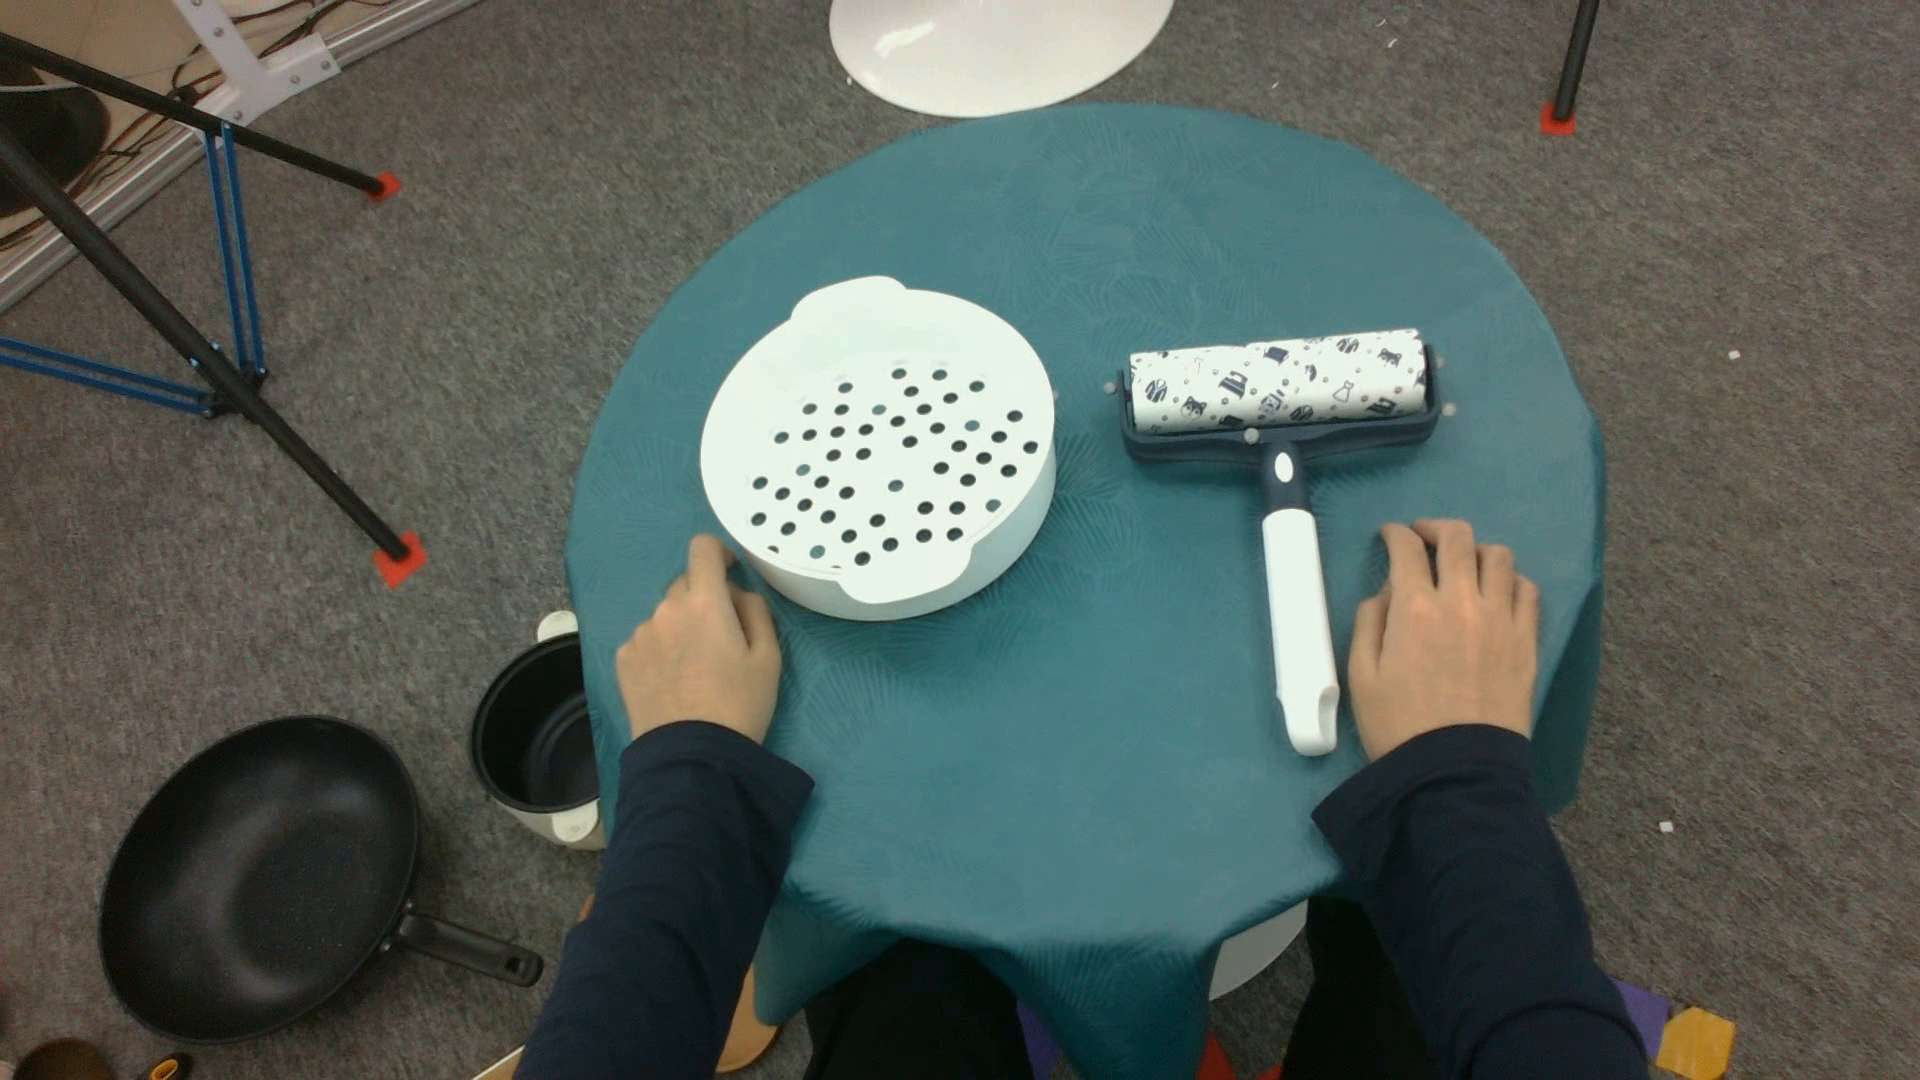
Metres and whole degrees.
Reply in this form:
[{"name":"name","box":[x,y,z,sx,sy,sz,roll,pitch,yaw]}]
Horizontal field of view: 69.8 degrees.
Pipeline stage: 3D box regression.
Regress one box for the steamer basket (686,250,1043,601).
[{"name":"steamer basket","box":[-0.052,-0.061,0.794,0.202,0.069,0.231,-15,59,1]}]

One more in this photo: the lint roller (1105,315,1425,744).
[{"name":"lint roller","box":[0.173,-0.013,0.739,0.176,0.050,0.248,-4,60,6]}]
